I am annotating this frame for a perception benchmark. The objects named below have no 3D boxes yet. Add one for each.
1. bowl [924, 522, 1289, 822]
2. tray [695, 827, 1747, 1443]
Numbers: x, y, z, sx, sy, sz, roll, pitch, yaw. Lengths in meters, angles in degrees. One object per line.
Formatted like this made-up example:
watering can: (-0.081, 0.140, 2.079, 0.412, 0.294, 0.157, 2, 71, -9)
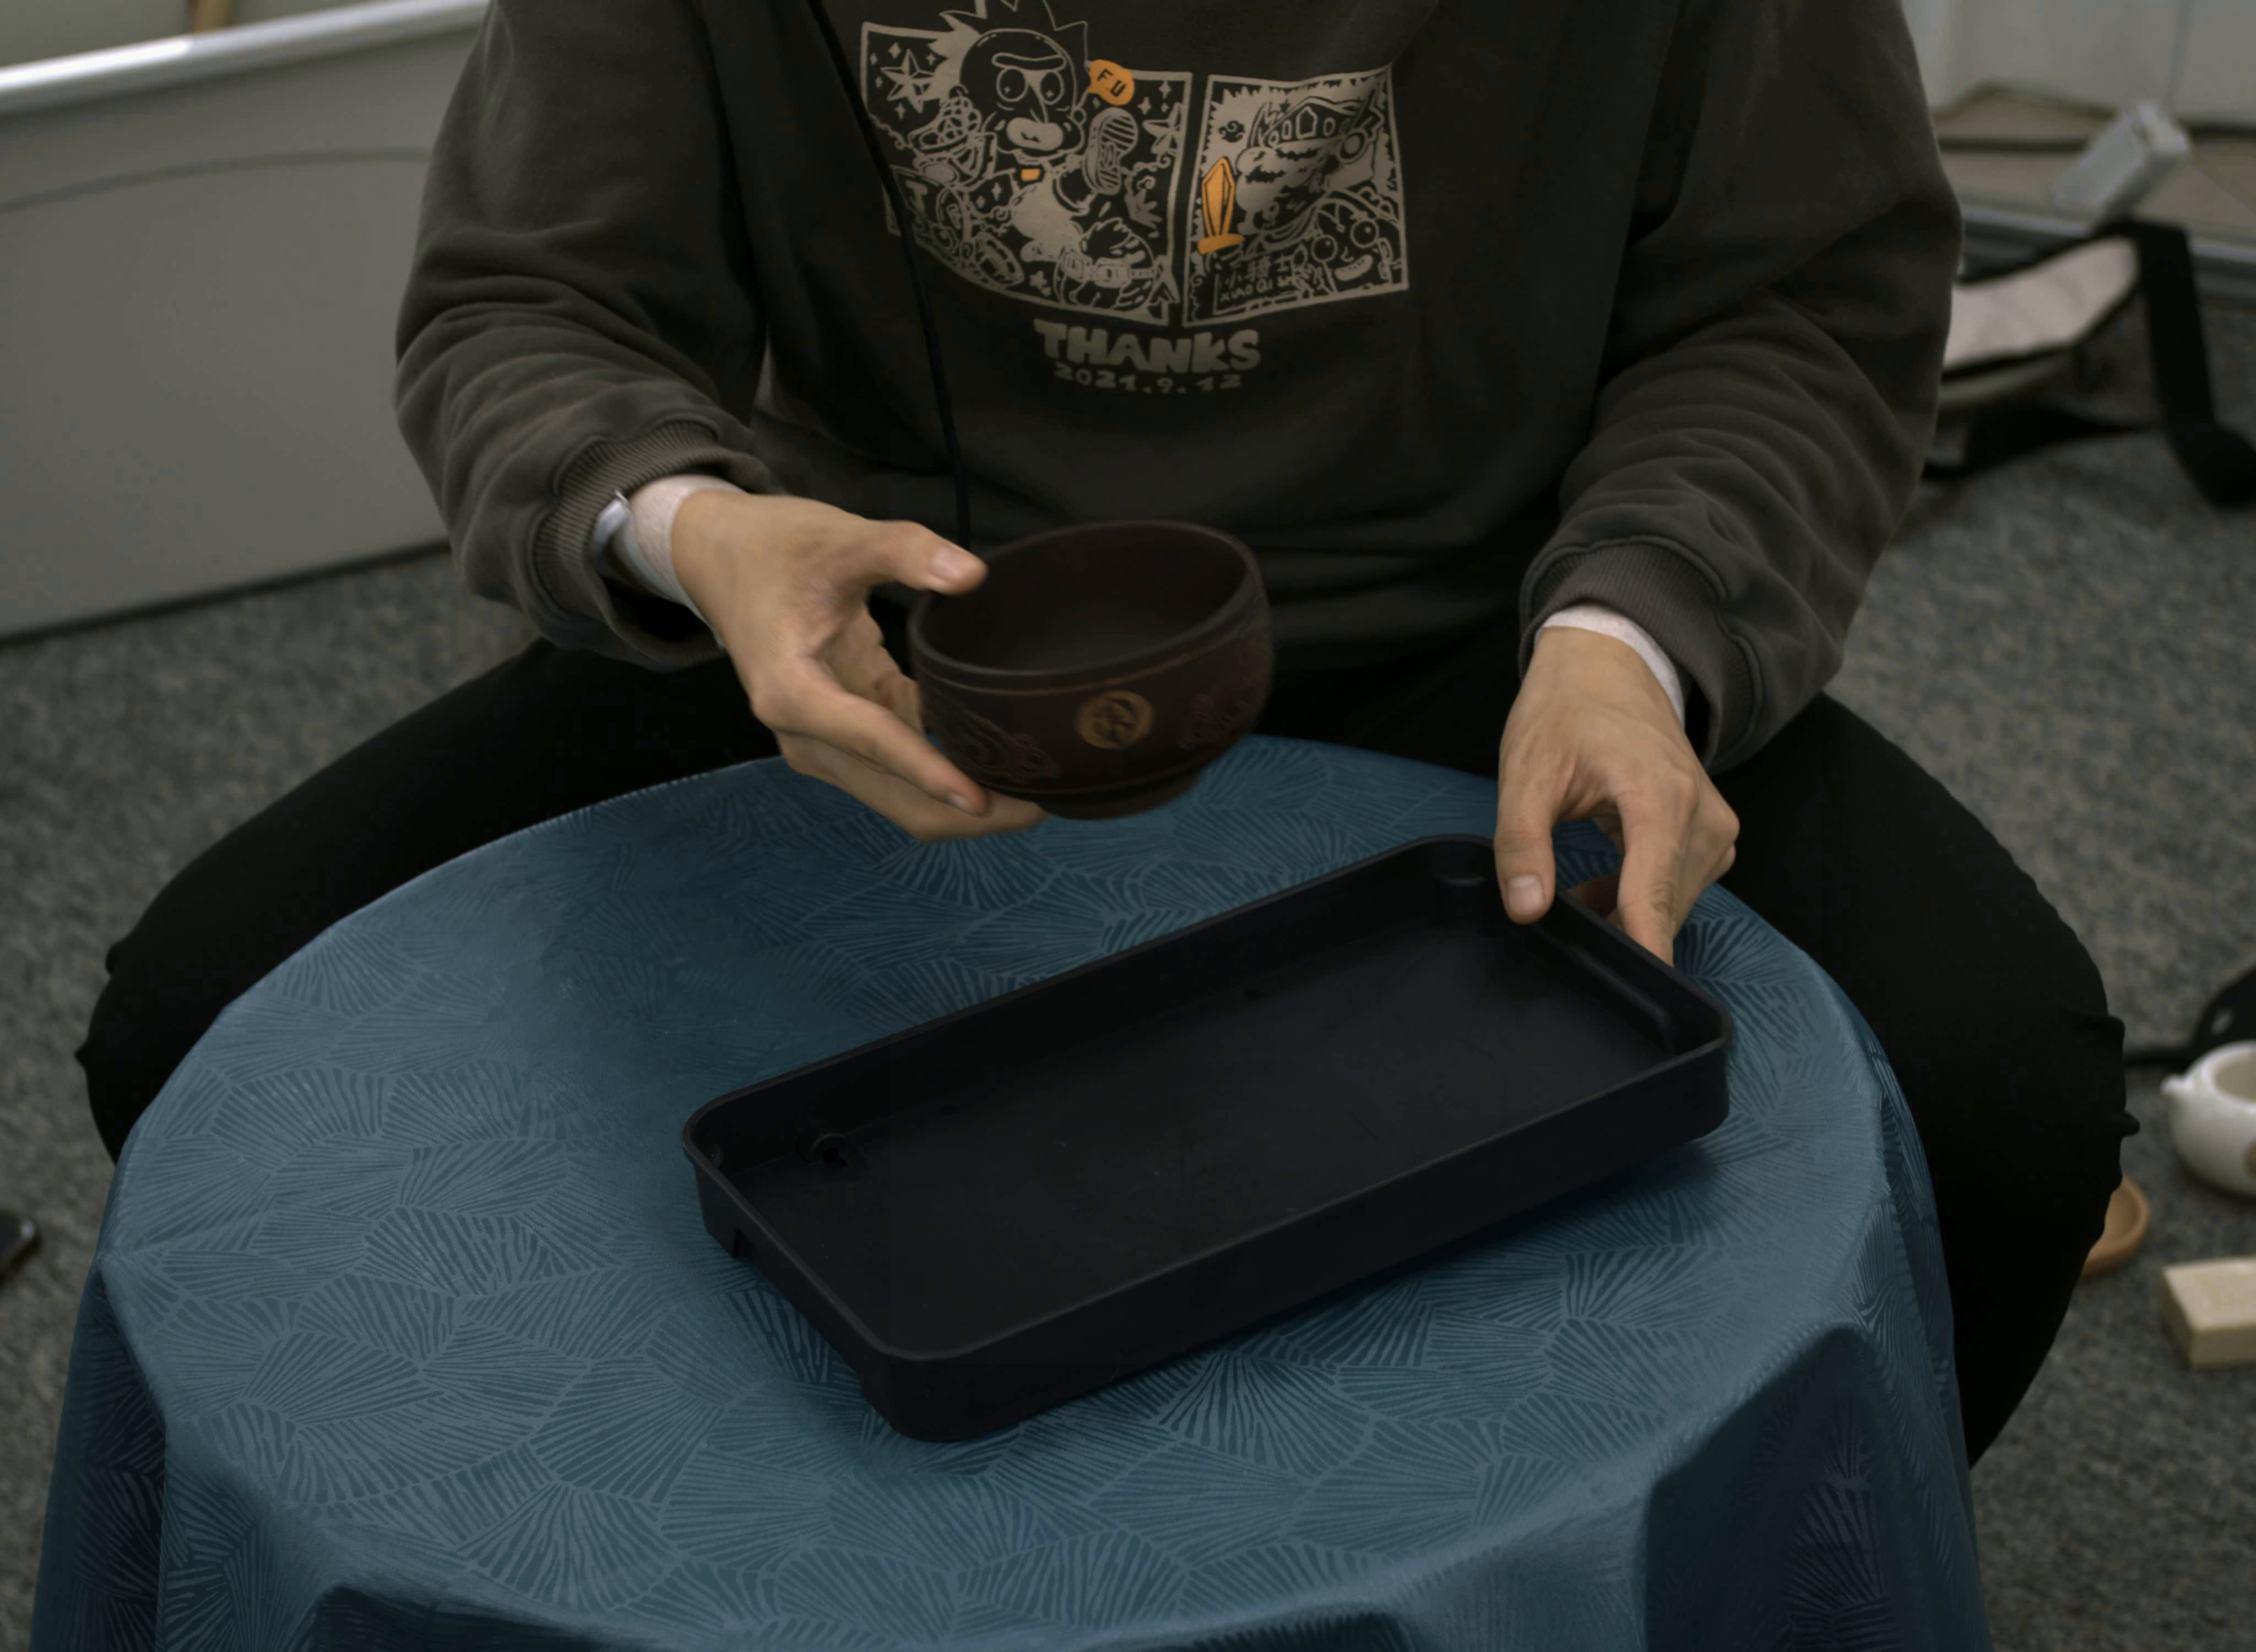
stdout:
bowl: (-0.004, -0.044, 1.828, 0.117, 0.069, 0.119, -9, 24, 4)
tray: (0.032, 0.096, 1.852, 0.320, 0.036, 0.185, -21, 31, -24)
